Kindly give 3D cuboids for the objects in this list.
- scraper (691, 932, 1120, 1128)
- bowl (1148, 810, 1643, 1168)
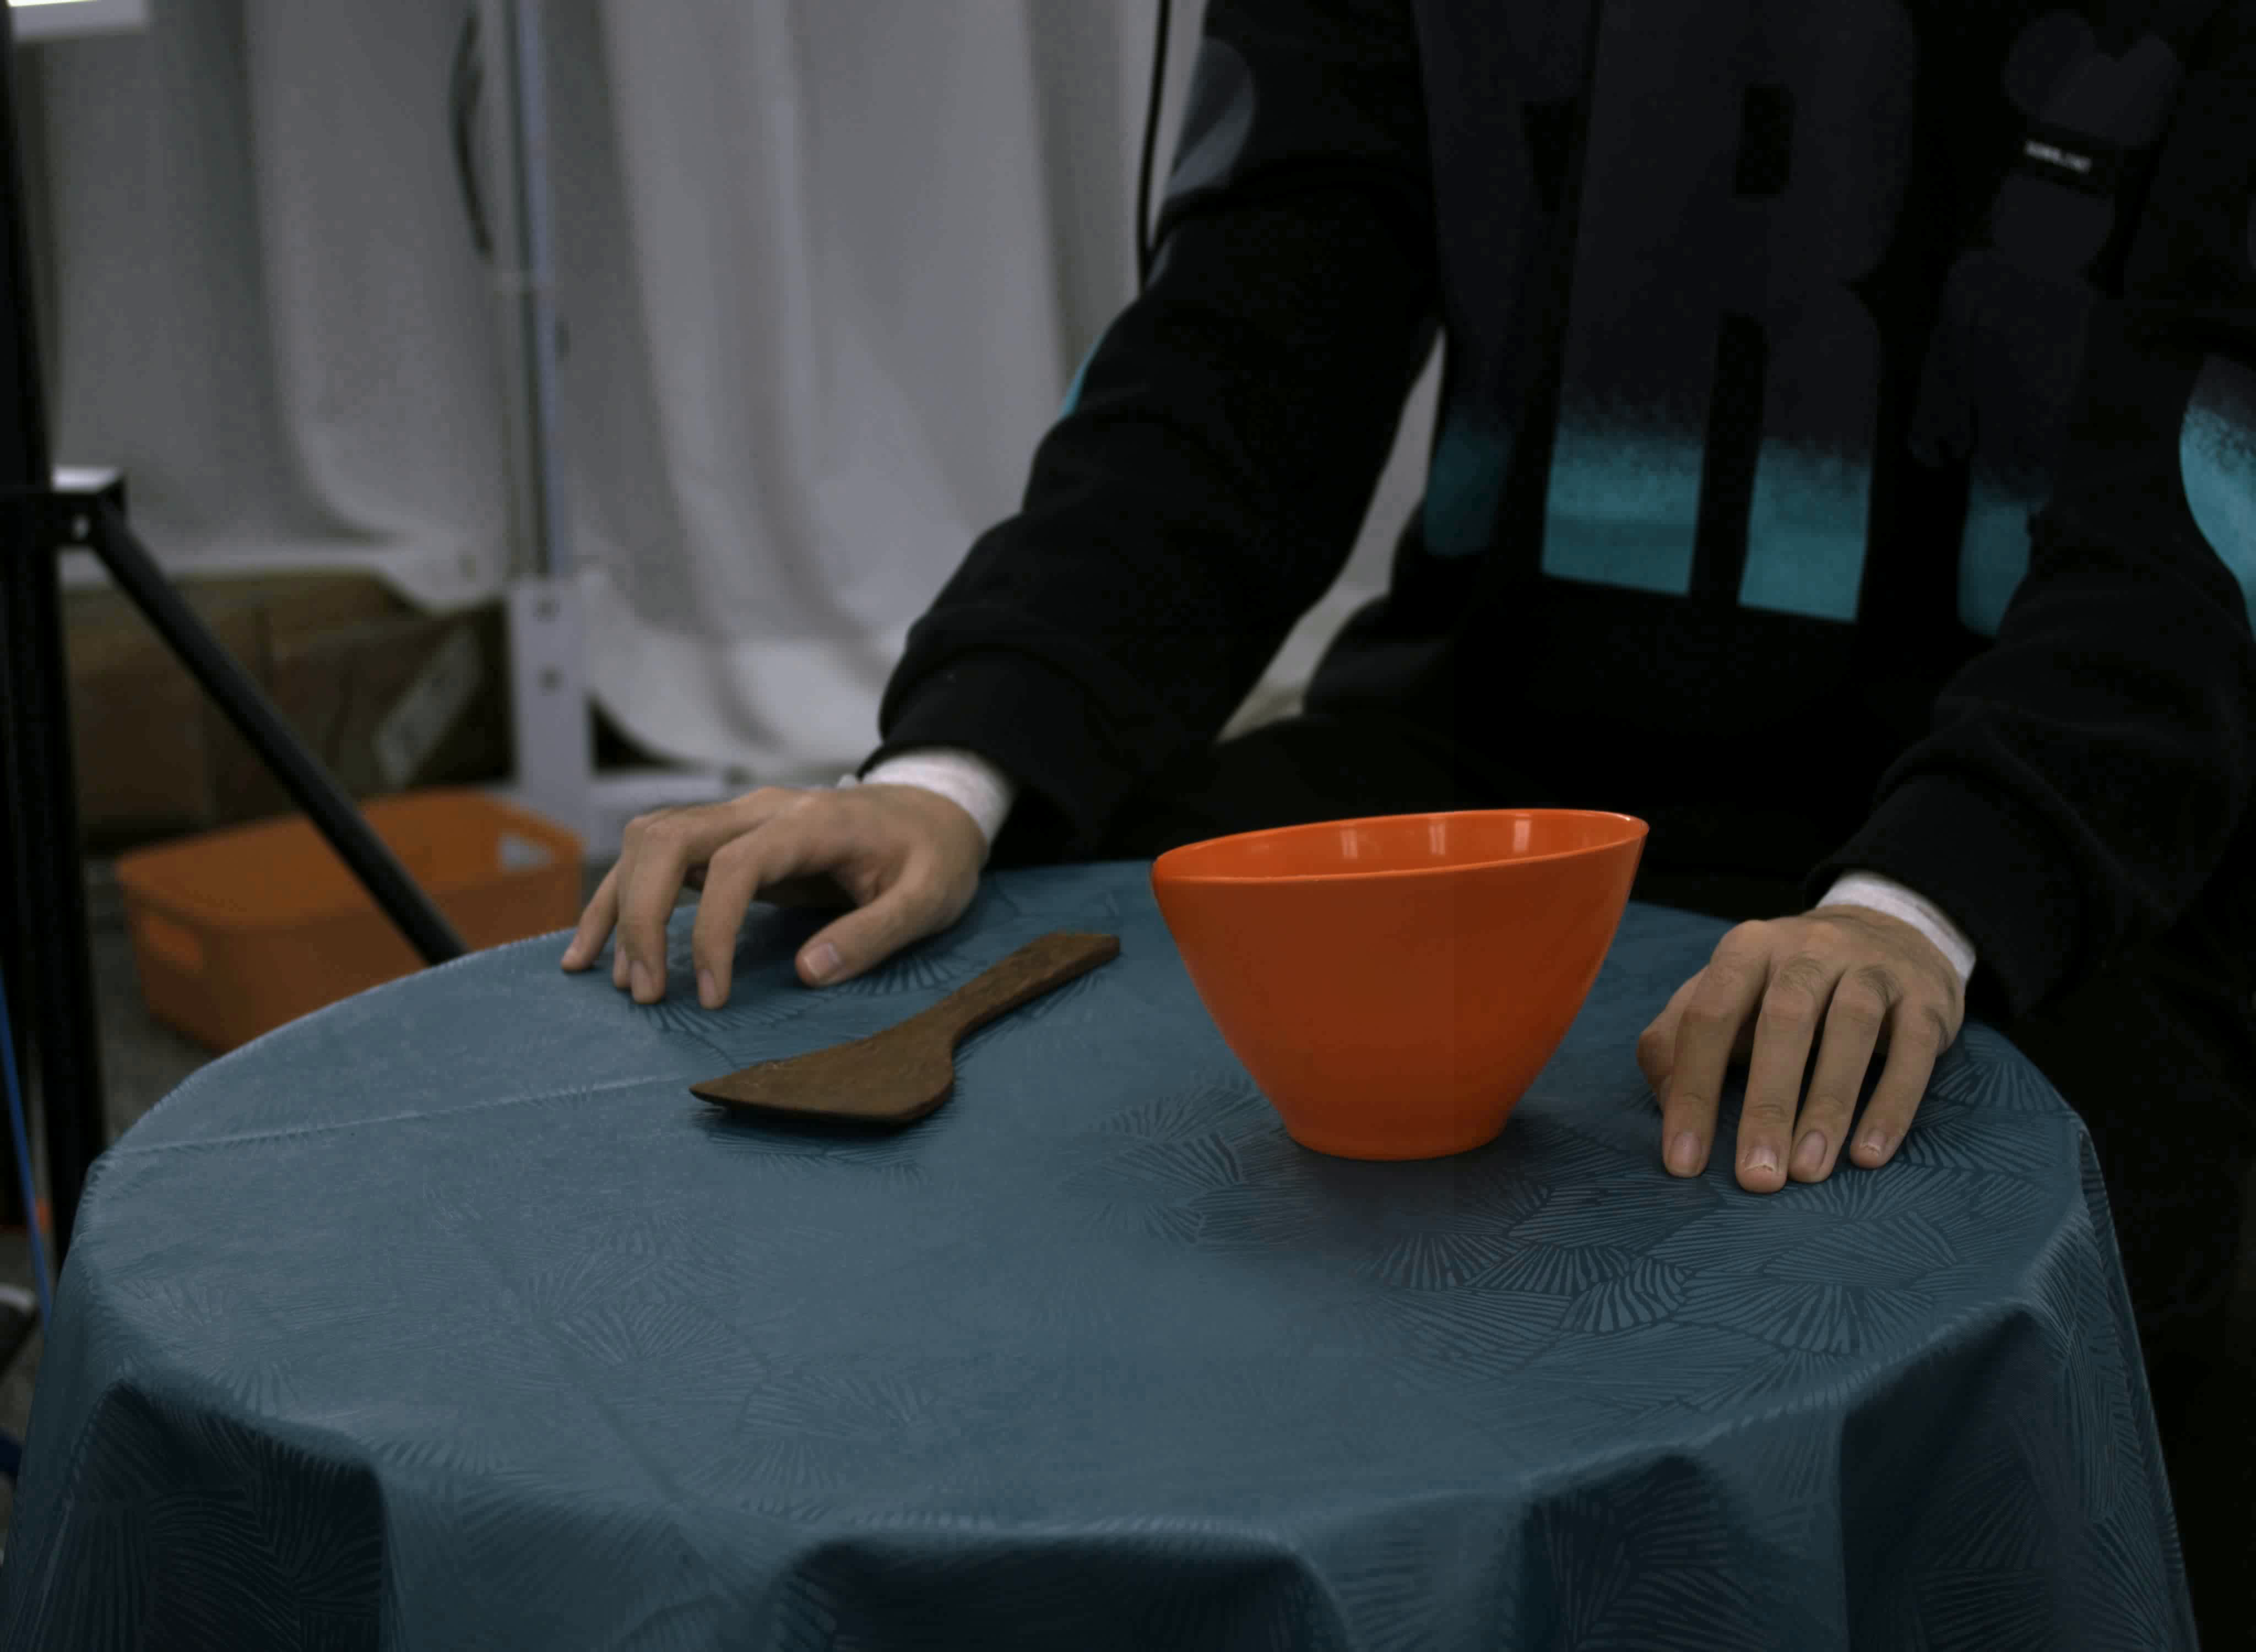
[{"bbox_3d":[-0.059,0.064,1.709,0.077,0.011,0.208,7,17,27],"label":"scraper"},{"bbox_3d":[0.081,0.046,1.581,0.147,0.104,0.149,-4,14,0],"label":"bowl"}]
